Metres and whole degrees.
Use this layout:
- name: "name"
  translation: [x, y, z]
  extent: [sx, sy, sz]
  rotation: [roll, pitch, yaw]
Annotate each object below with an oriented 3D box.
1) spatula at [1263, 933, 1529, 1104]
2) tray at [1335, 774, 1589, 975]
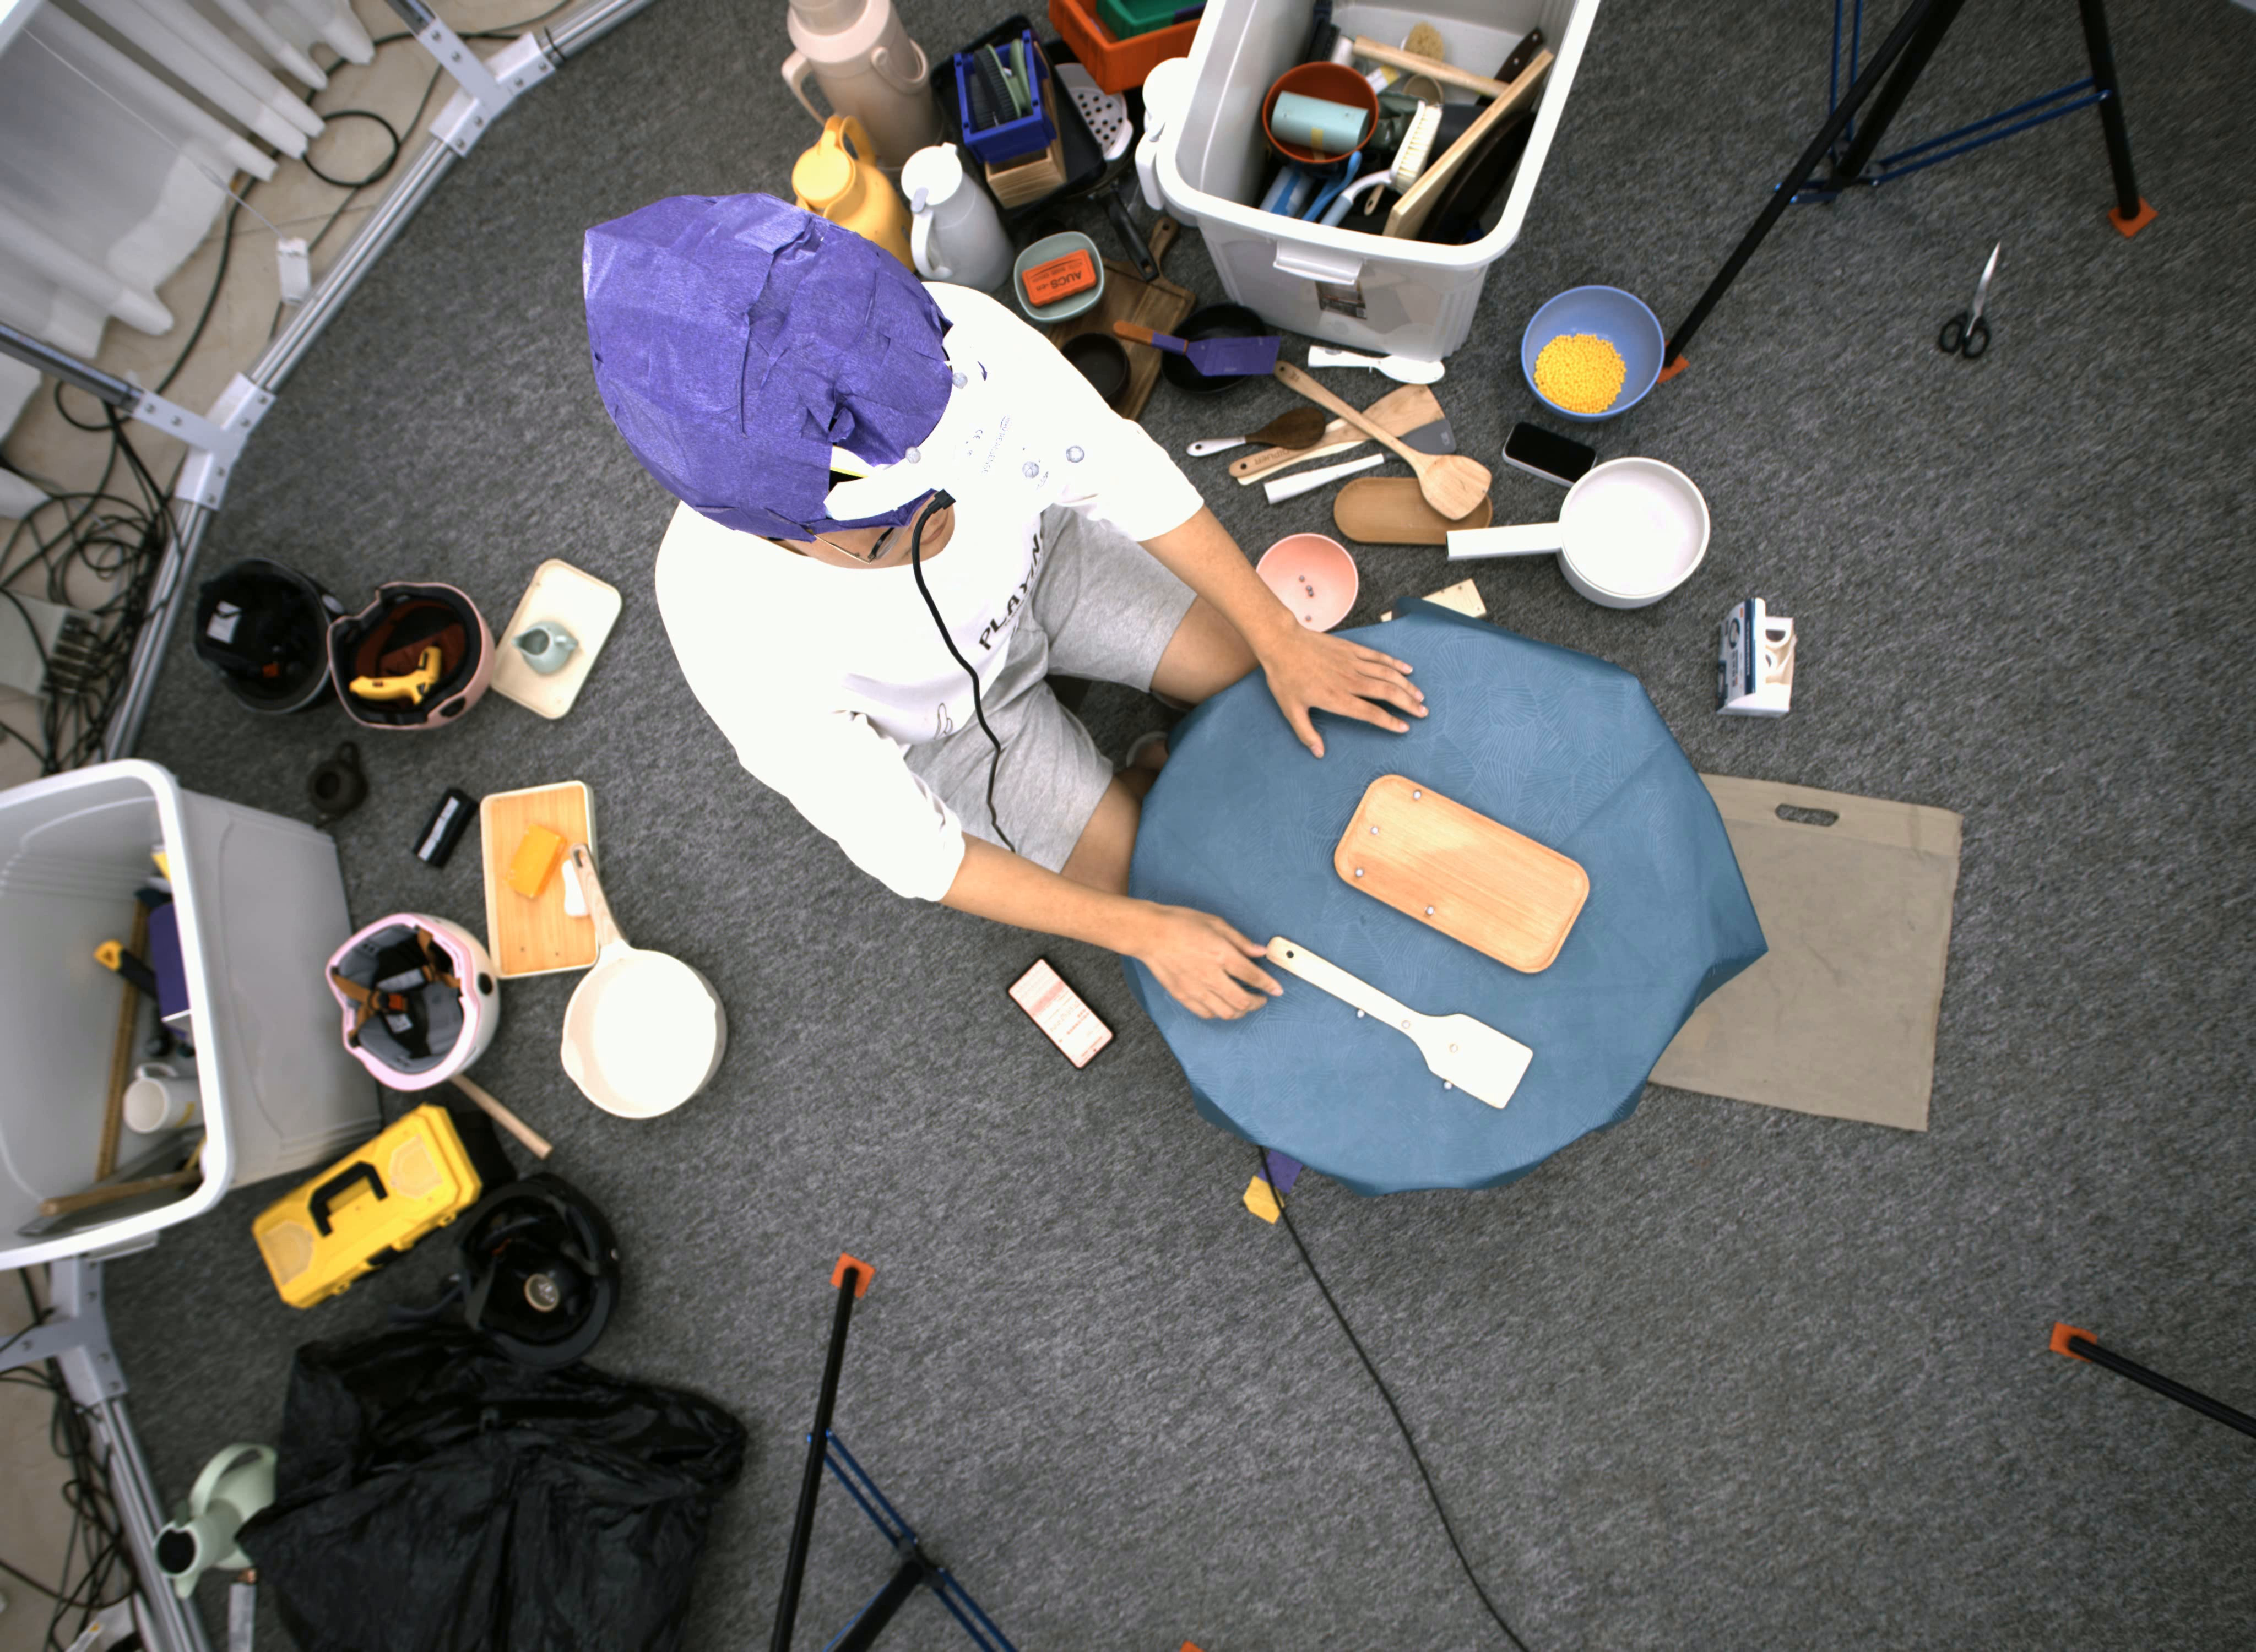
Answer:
- name: "spatula"
  translation: [0.272, 0.190, 1.447]
  extent: [0.292, 0.010, 0.072]
  rotation: [28, 93, 11]
- name: "tray"
  translation: [0.347, 0.048, 1.438]
  extent: [0.250, 0.023, 0.131]
  rotation: [29, 95, 11]
